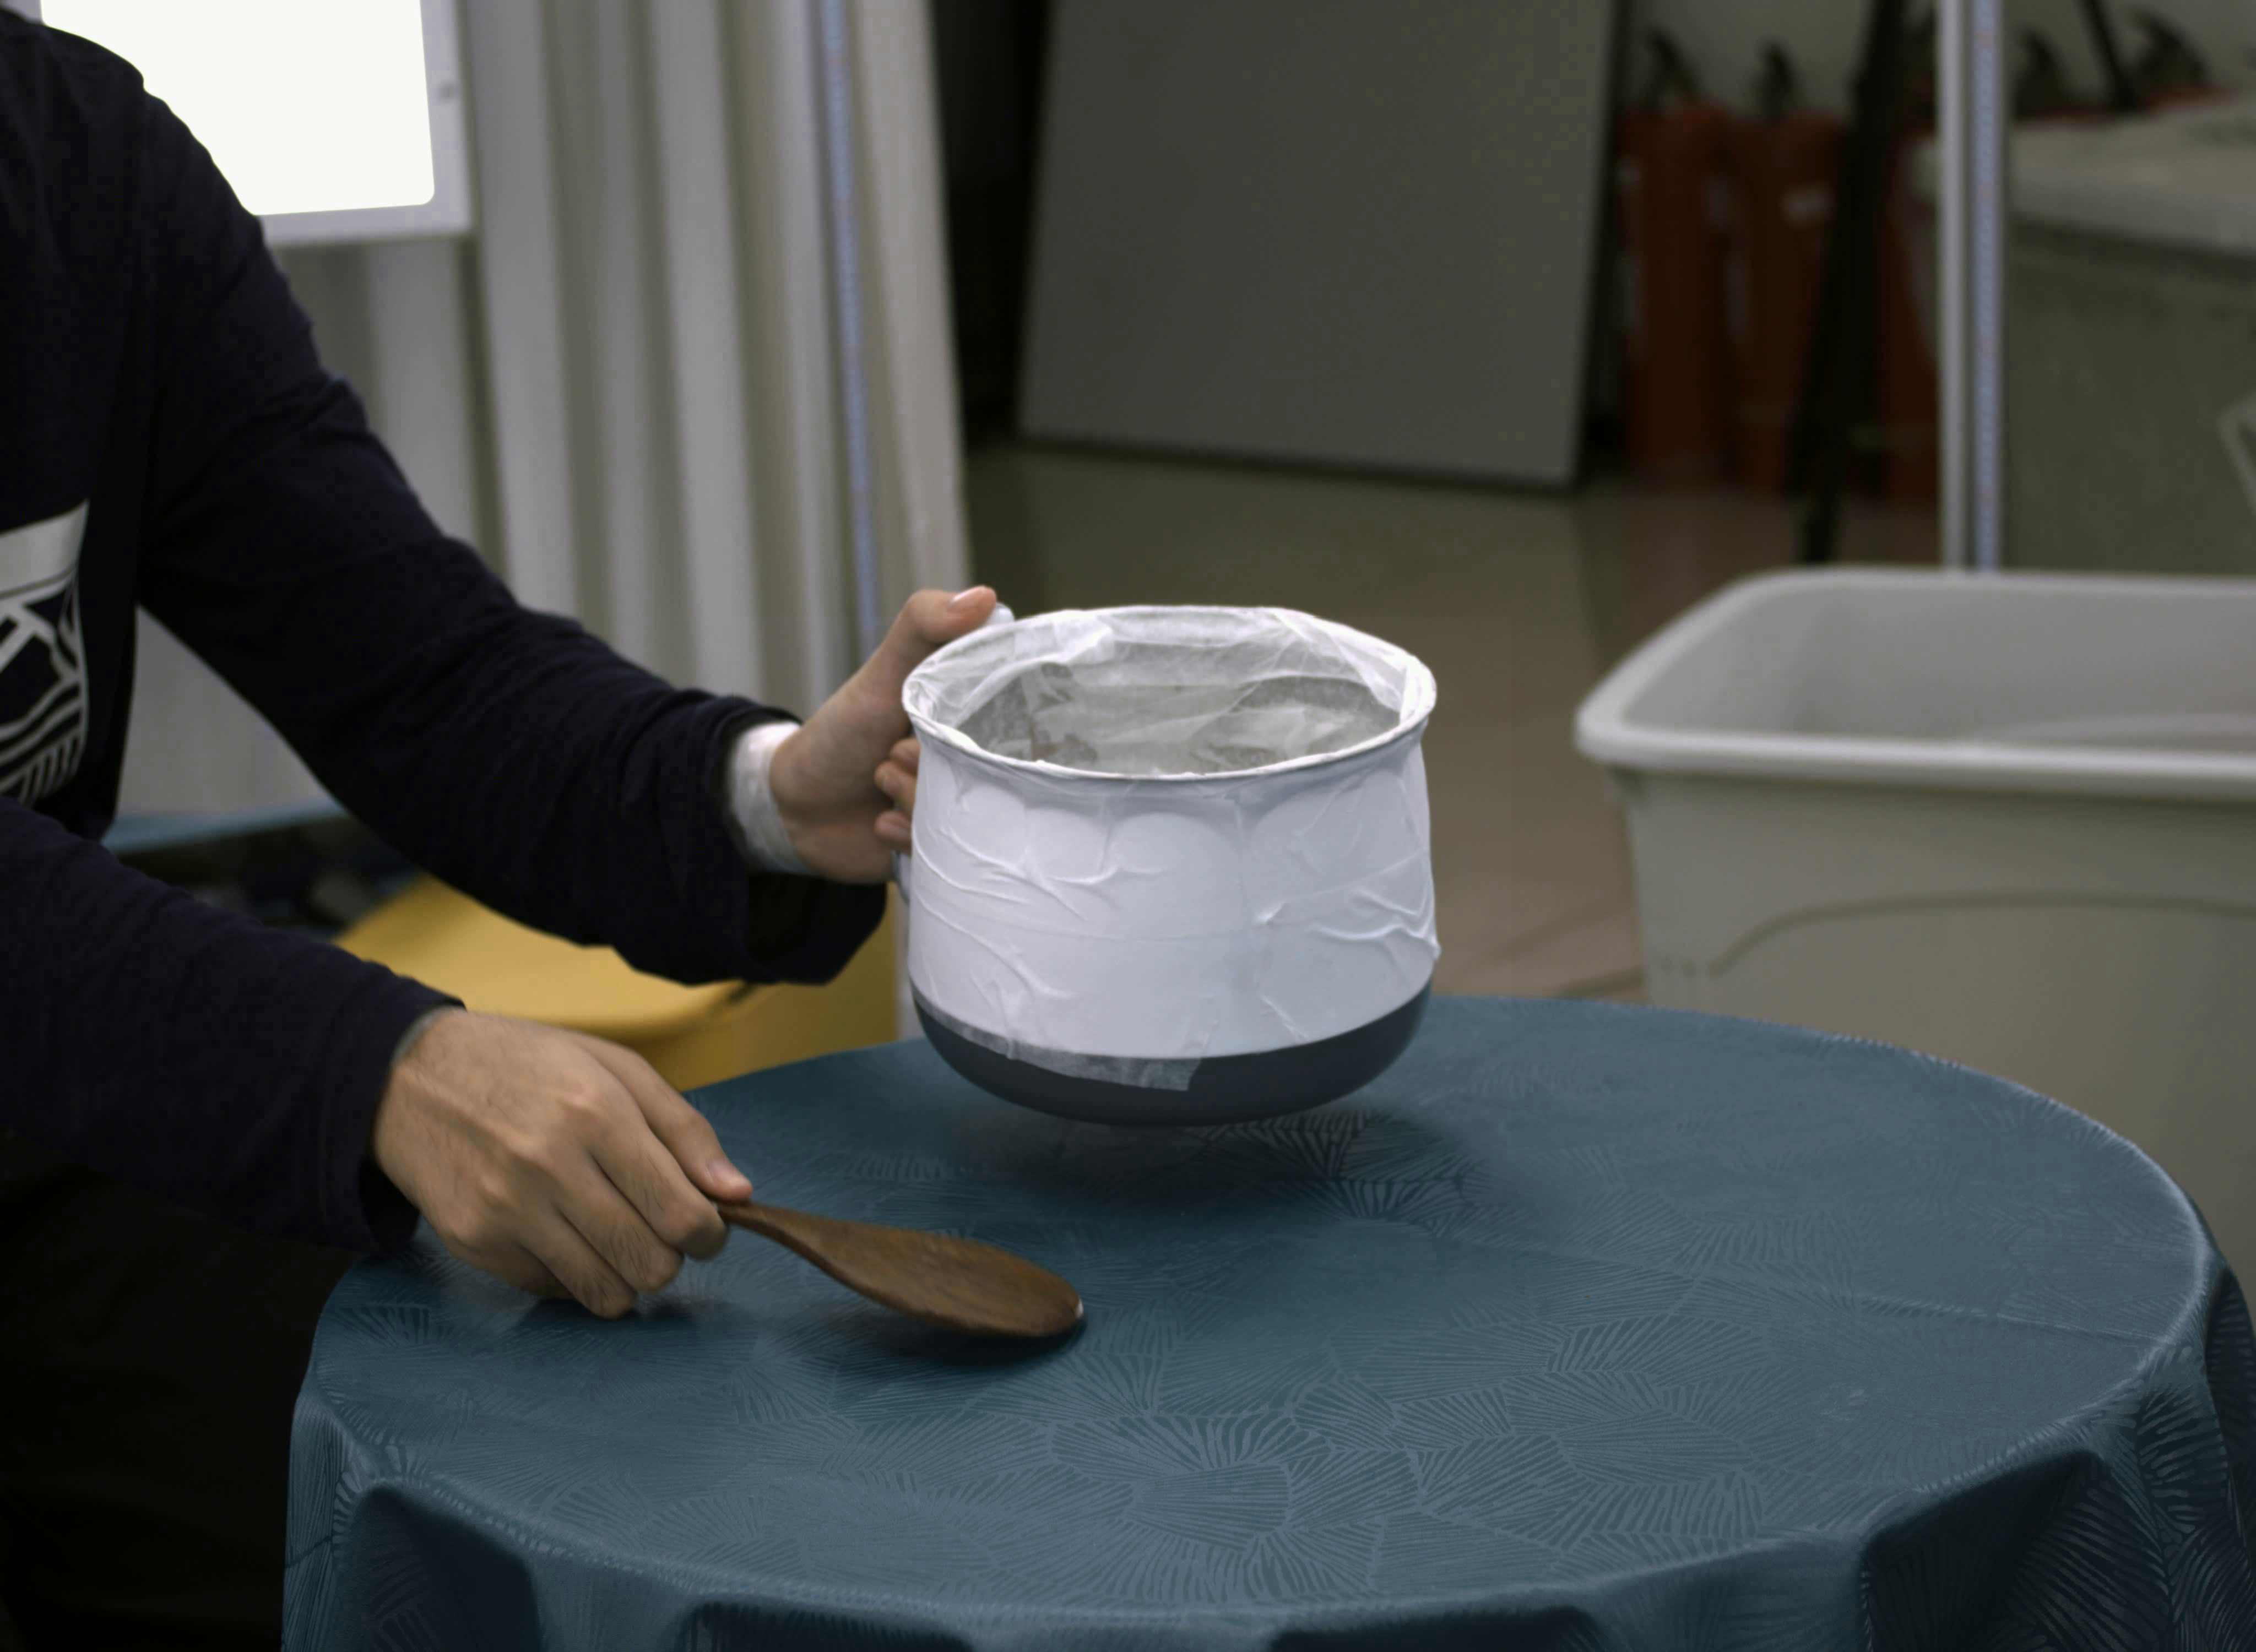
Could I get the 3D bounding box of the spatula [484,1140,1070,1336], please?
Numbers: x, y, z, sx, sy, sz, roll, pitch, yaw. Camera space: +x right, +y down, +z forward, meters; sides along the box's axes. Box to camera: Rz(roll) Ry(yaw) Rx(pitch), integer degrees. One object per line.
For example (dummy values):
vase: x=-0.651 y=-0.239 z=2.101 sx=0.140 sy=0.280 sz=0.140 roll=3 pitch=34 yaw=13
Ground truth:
spatula: x=-0.111 y=0.125 z=1.676 sx=0.217 sy=0.009 sz=0.070 roll=14 pitch=12 yaw=30

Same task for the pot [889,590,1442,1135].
pot: x=-0.004 y=0.005 z=1.808 sx=0.175 sy=0.138 sz=0.236 roll=-12 pitch=23 yaw=-36
